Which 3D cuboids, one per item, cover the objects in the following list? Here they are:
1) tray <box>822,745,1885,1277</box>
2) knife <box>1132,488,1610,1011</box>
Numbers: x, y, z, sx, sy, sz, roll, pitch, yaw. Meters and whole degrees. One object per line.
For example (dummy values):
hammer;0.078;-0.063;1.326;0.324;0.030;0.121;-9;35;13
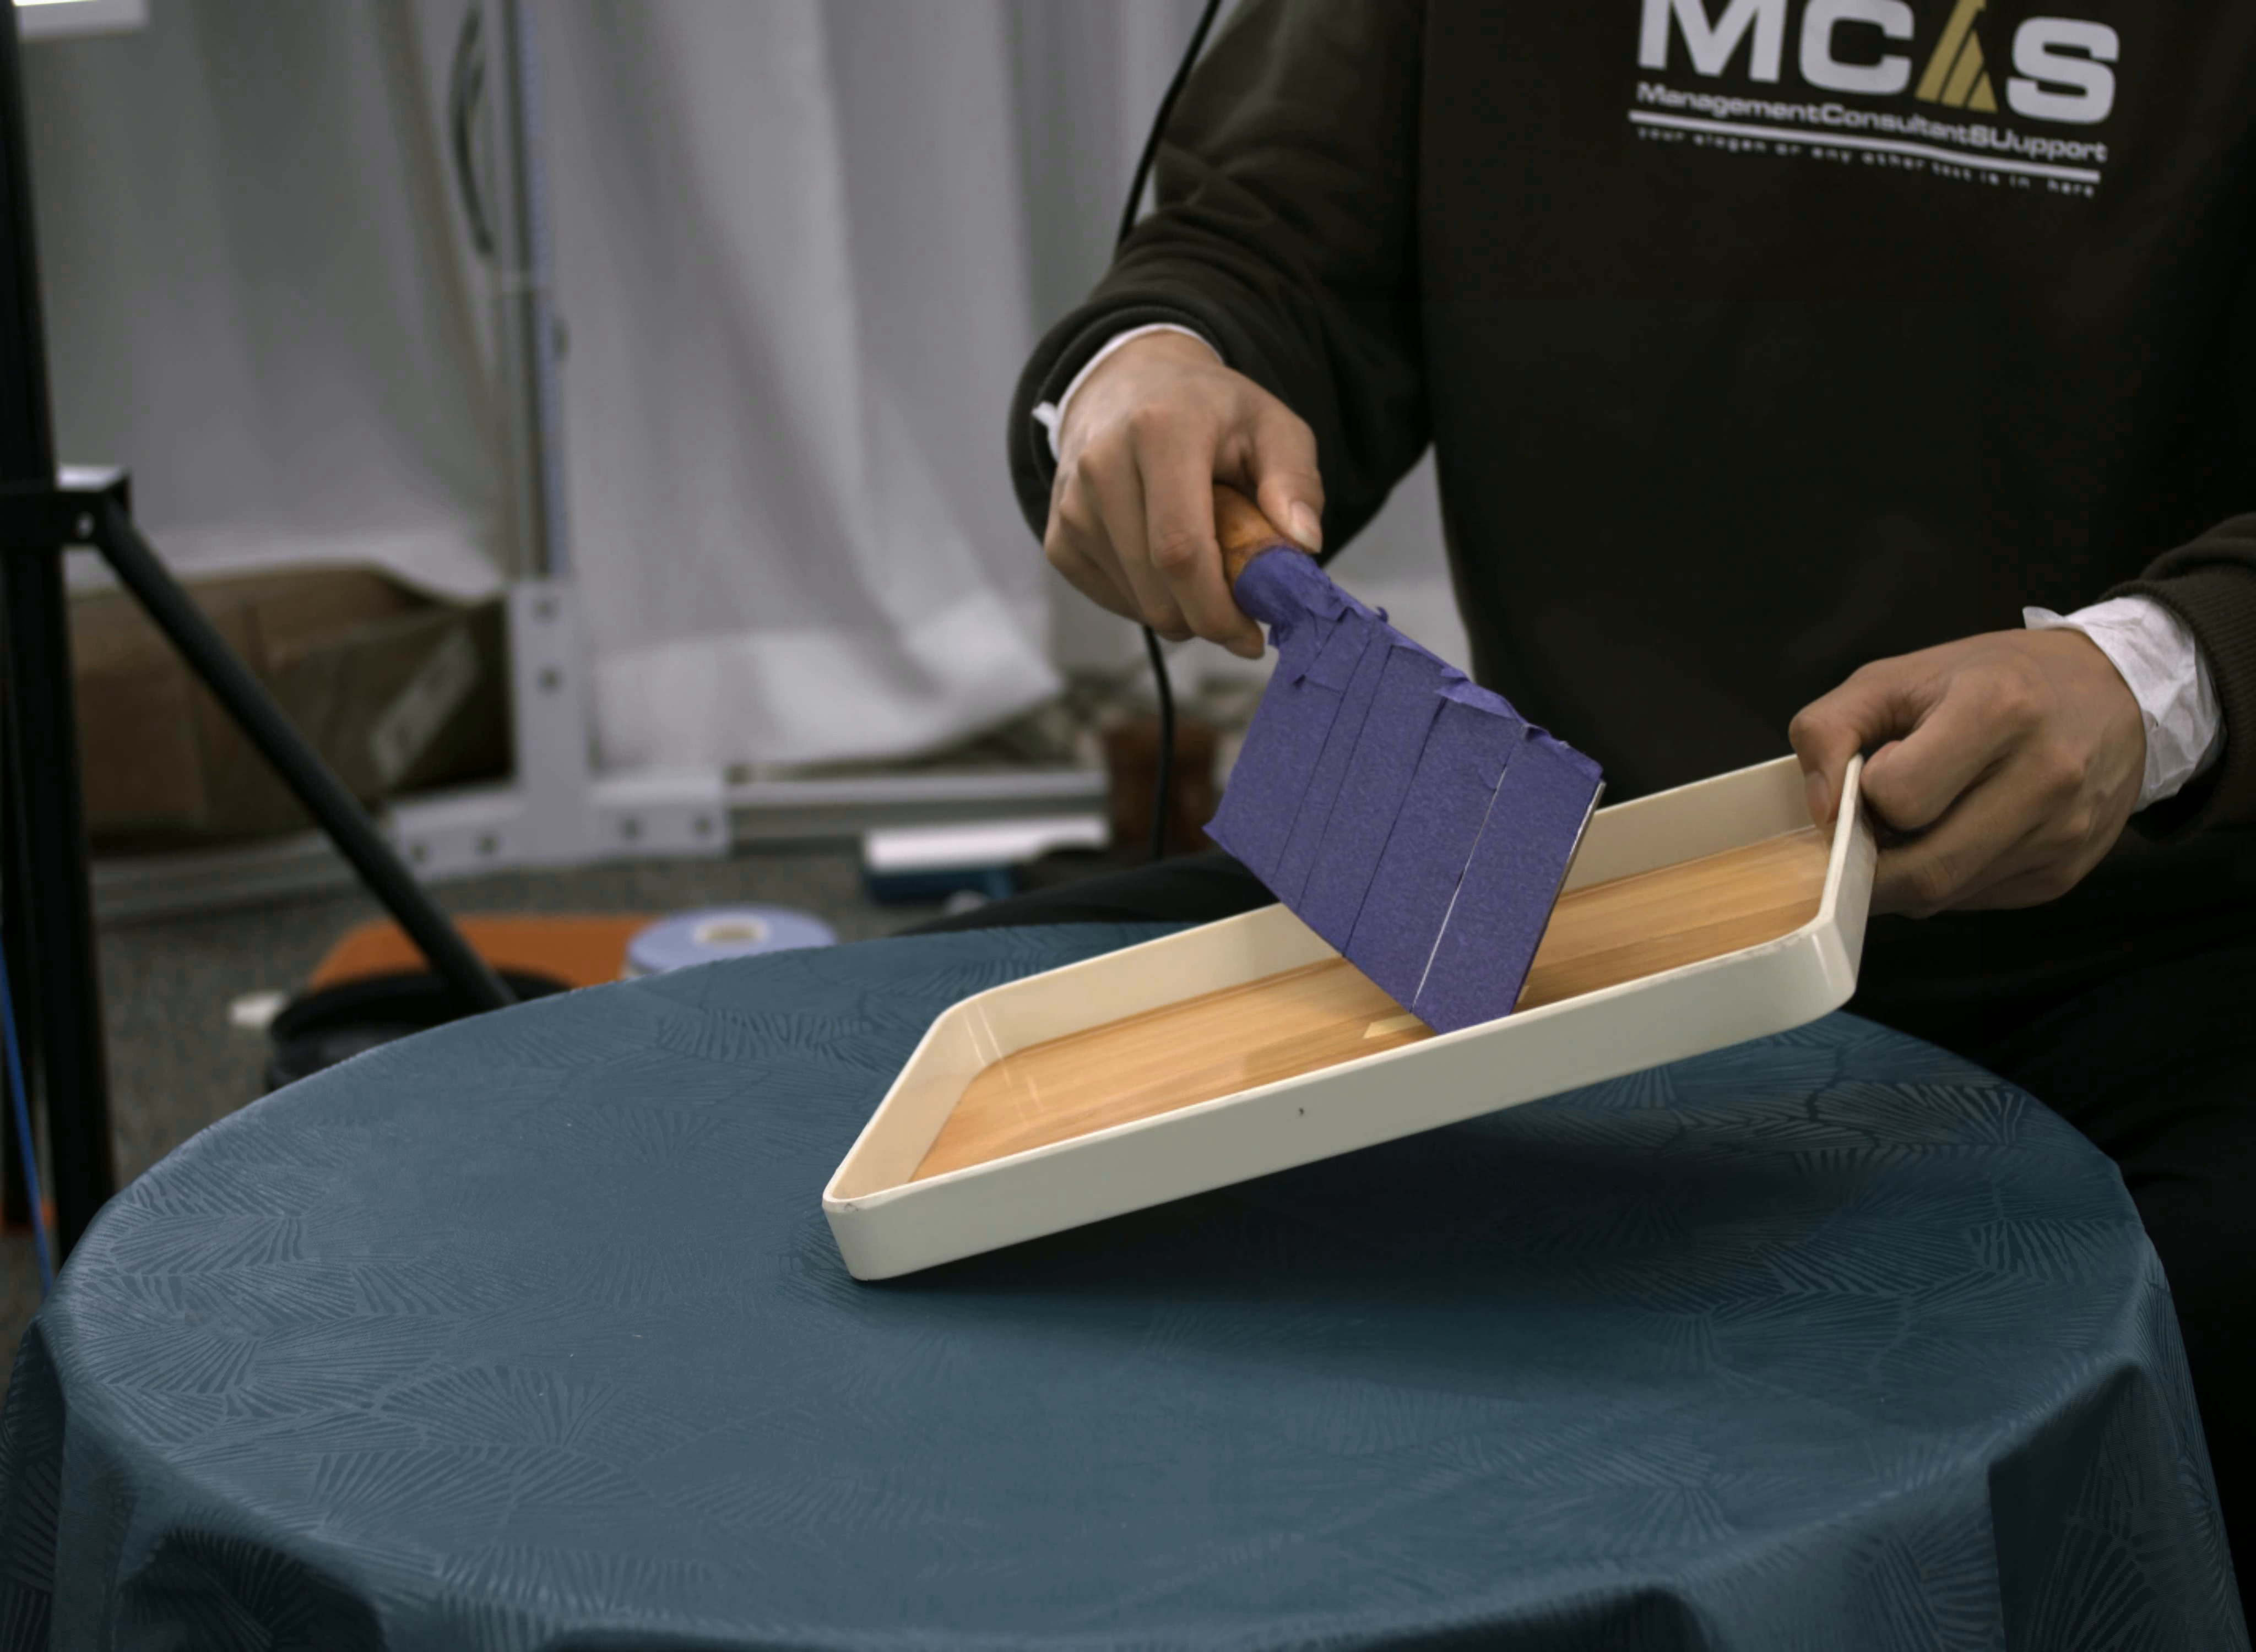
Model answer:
tray;0.069;0.053;1.536;0.302;0.027;0.190;-16;13;17
knife;0.056;-0.025;1.594;0.031;0.104;0.321;19;9;-24
